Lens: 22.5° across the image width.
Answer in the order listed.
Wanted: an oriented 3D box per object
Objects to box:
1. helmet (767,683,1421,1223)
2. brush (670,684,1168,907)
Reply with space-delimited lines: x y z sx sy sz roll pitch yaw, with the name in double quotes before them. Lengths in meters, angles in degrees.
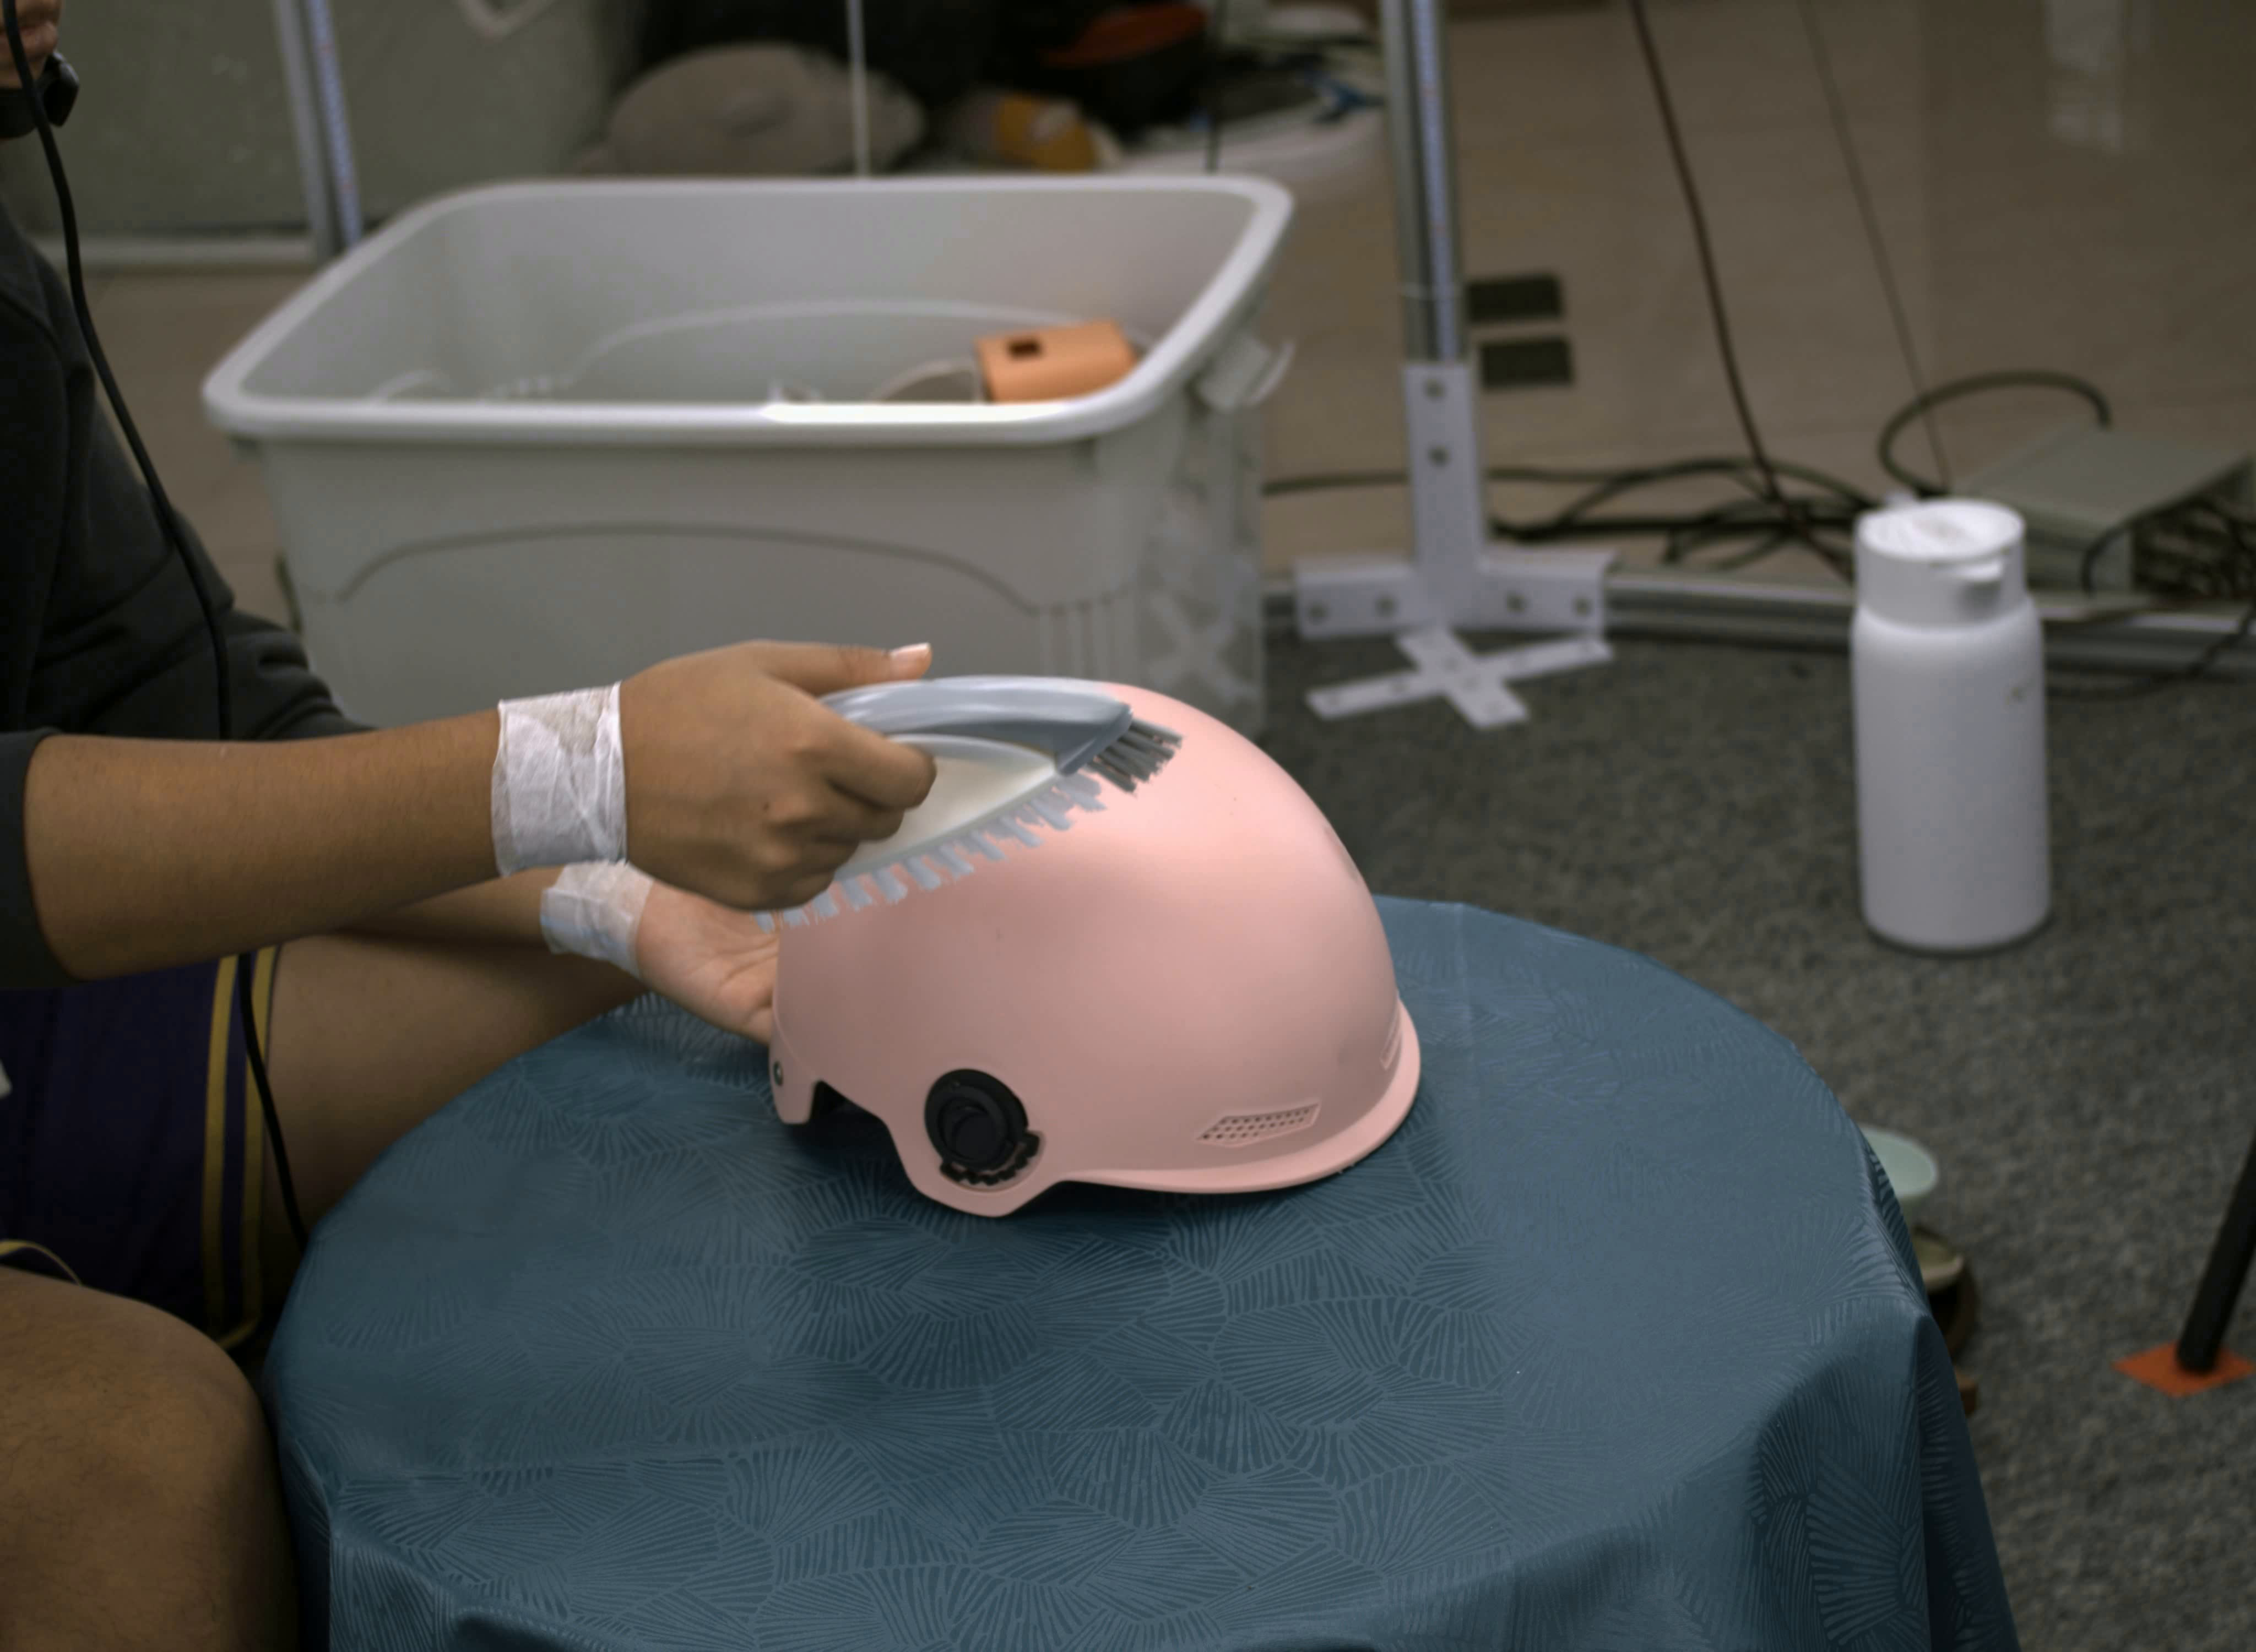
"helmet" -0.013 0.034 2.191 0.264 0.161 0.231 19 34 31
"brush" -0.081 -0.025 2.026 0.175 0.095 0.060 -13 64 19
